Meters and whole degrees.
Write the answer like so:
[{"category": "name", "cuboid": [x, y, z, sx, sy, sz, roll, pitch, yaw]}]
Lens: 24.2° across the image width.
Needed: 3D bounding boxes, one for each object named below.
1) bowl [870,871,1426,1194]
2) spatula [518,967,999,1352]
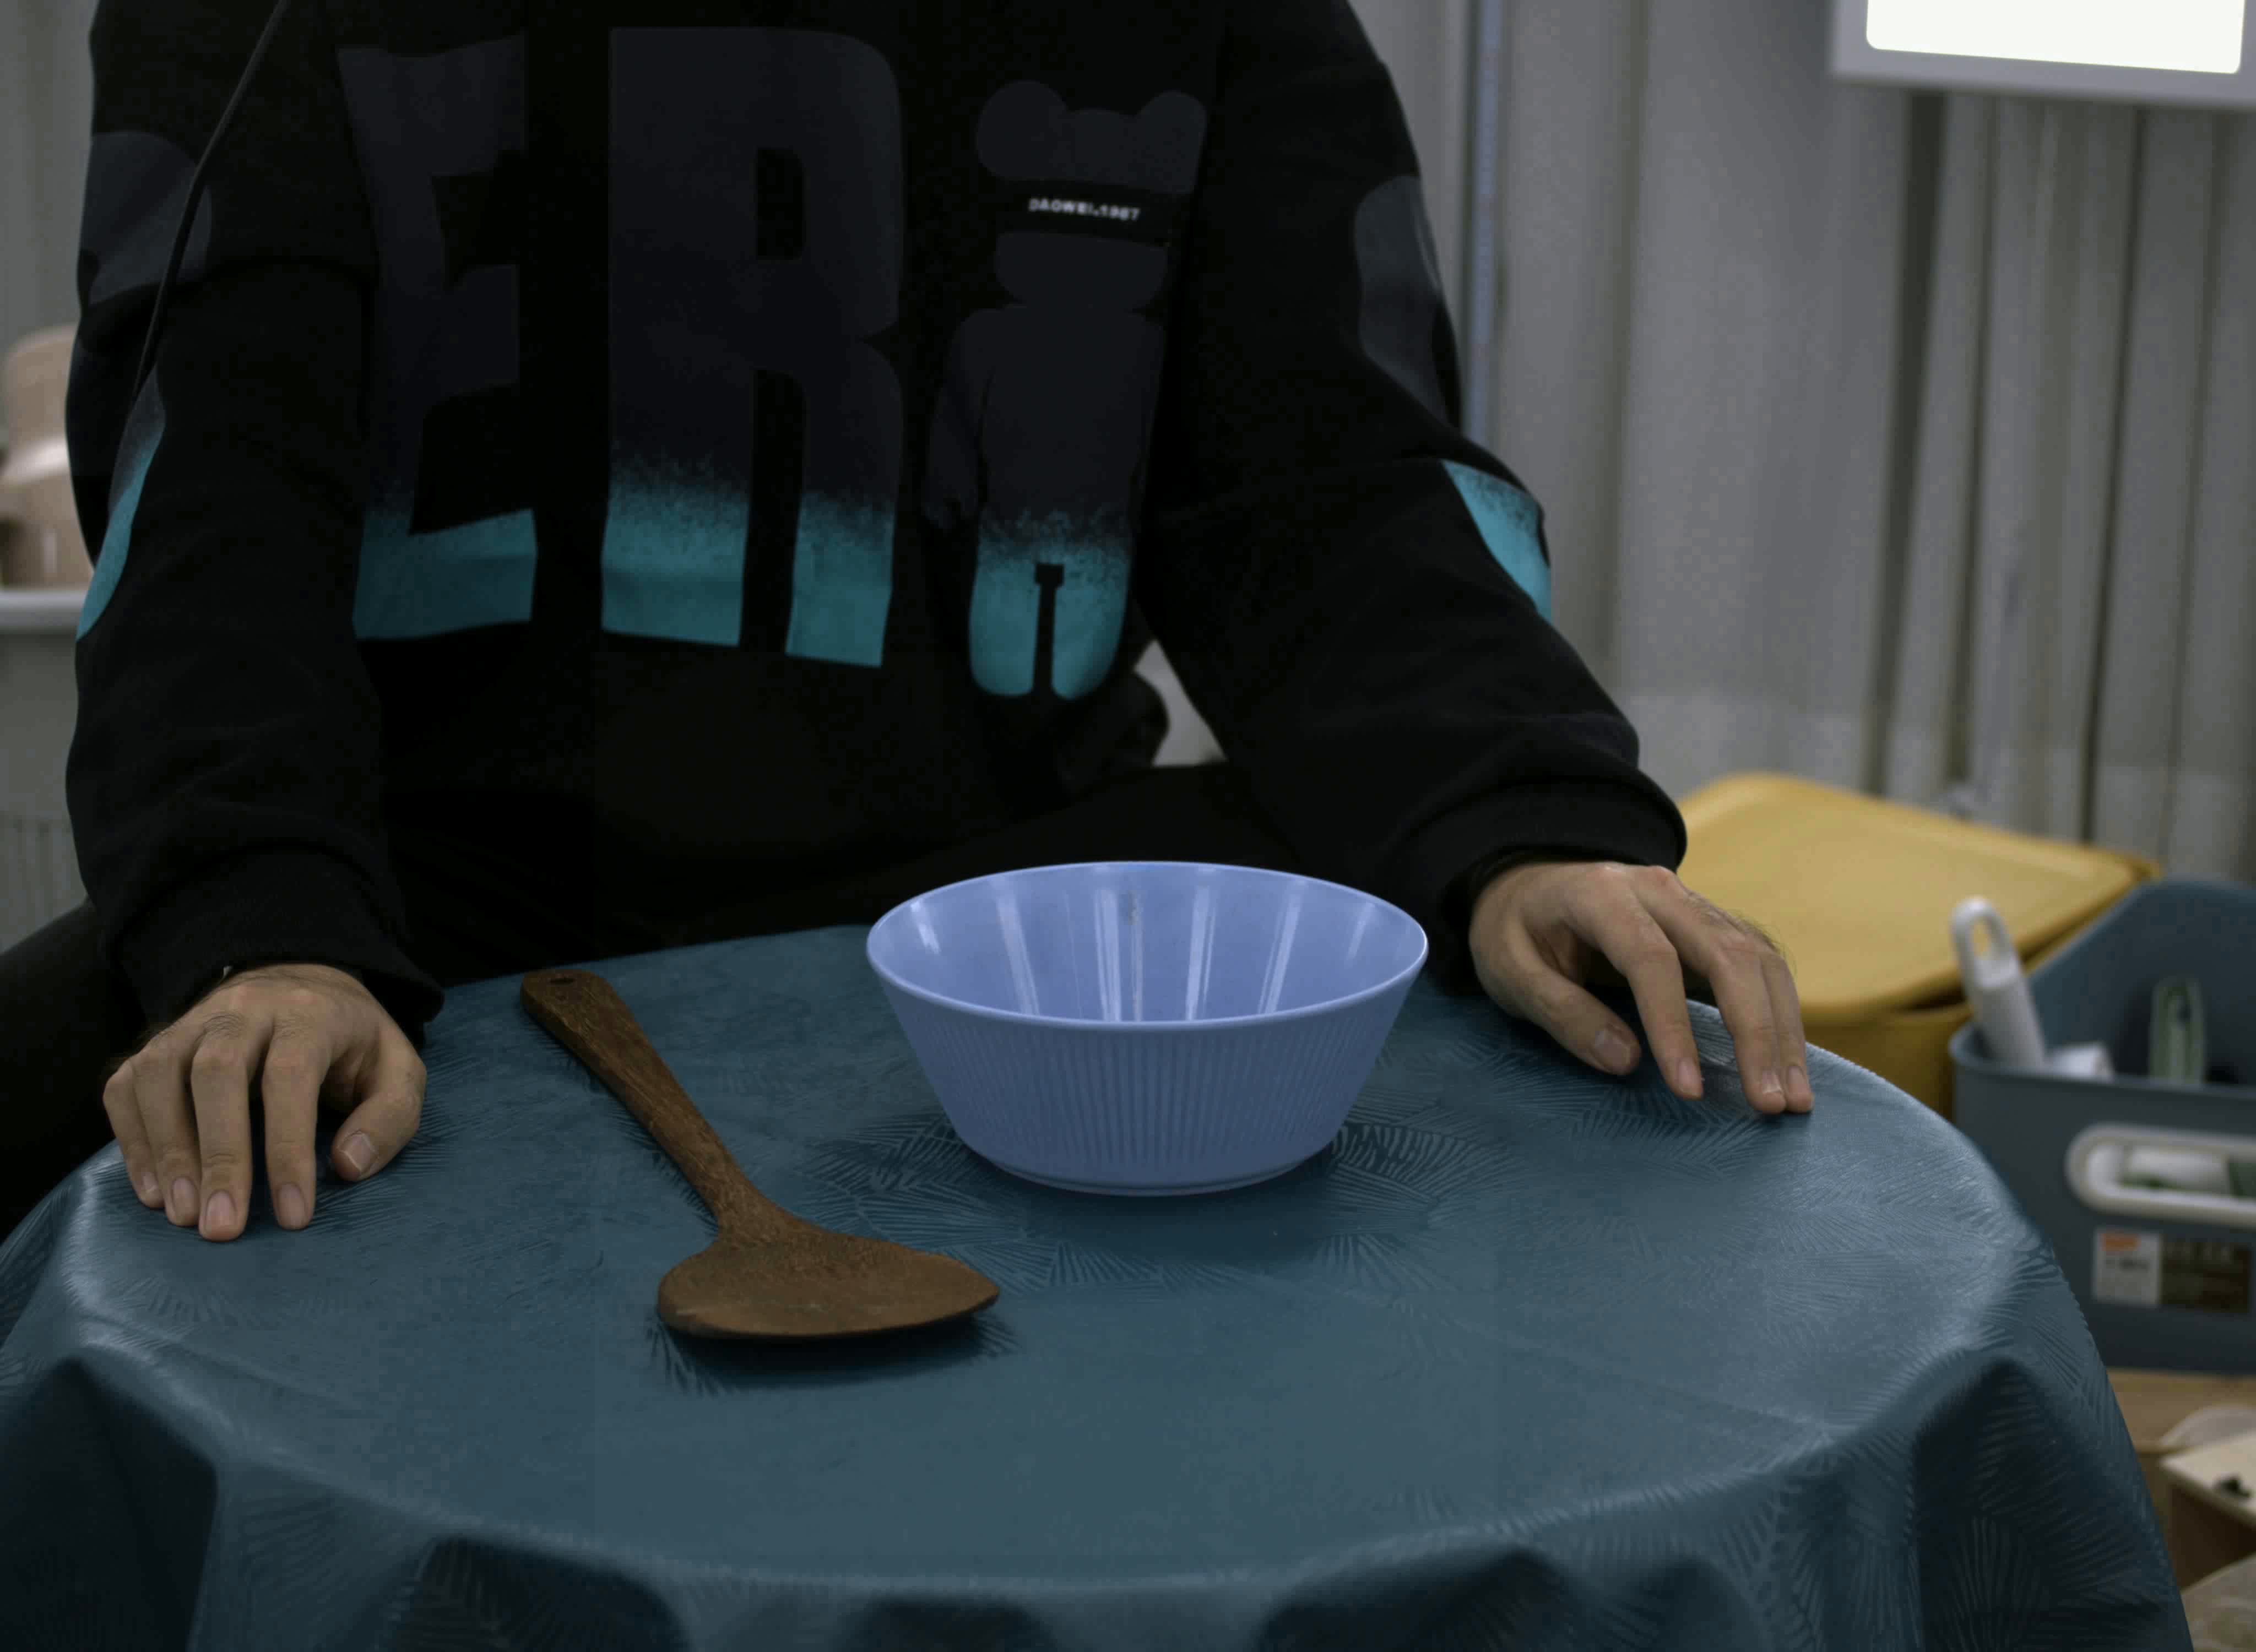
[{"category": "bowl", "cuboid": [0.006, 0.067, 1.660, 0.175, 0.071, 0.175, 0, 15, 0]}, {"category": "spatula", "cuboid": [-0.138, 0.098, 1.647, 0.096, 0.016, 0.382, -5, 16, -19]}]
